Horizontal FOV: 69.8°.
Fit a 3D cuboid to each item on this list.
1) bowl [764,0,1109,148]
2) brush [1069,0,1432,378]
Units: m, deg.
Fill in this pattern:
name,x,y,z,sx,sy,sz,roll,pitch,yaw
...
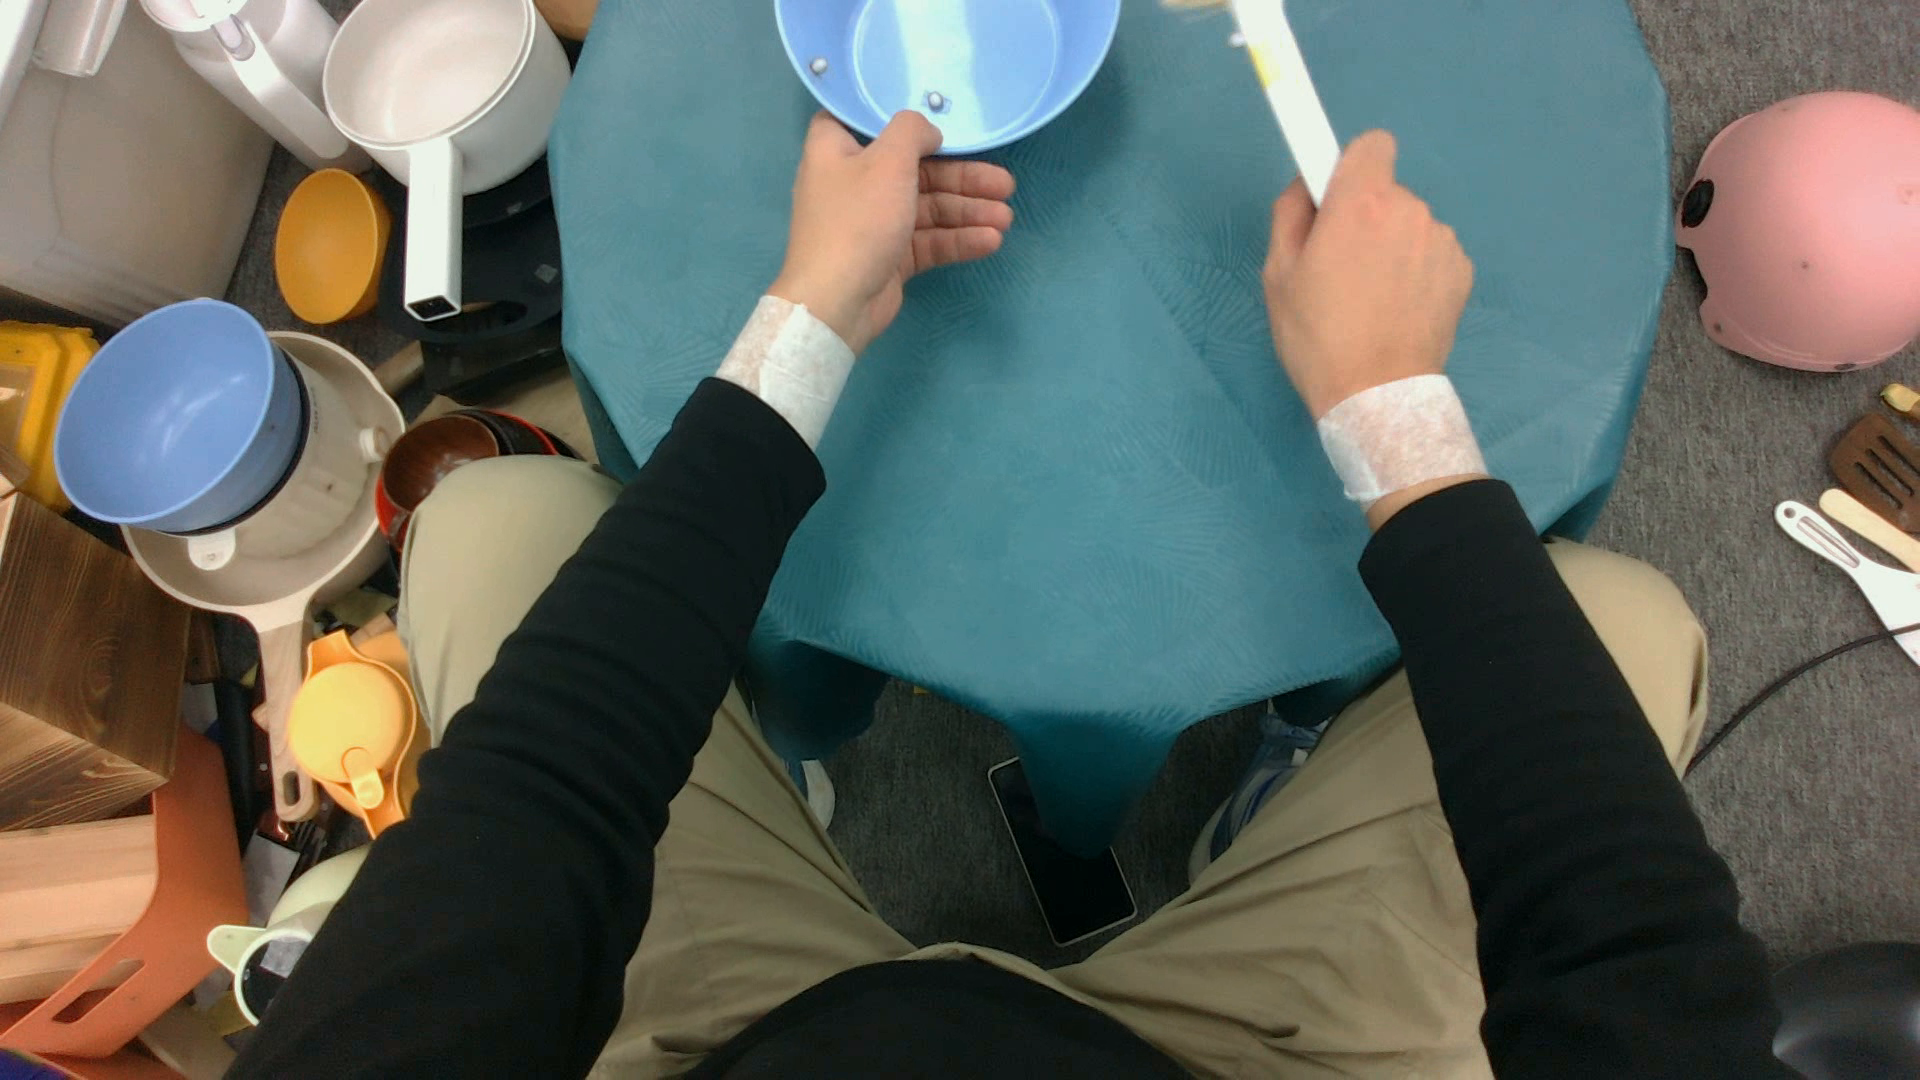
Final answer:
name,x,y,z,sx,sy,sz,roll,pitch,yaw
bowl,-0.011,-0.277,0.726,0.176,0.070,0.176,0,81,2
brush,0.137,-0.181,0.643,0.069,0.056,0.266,-47,112,-26
